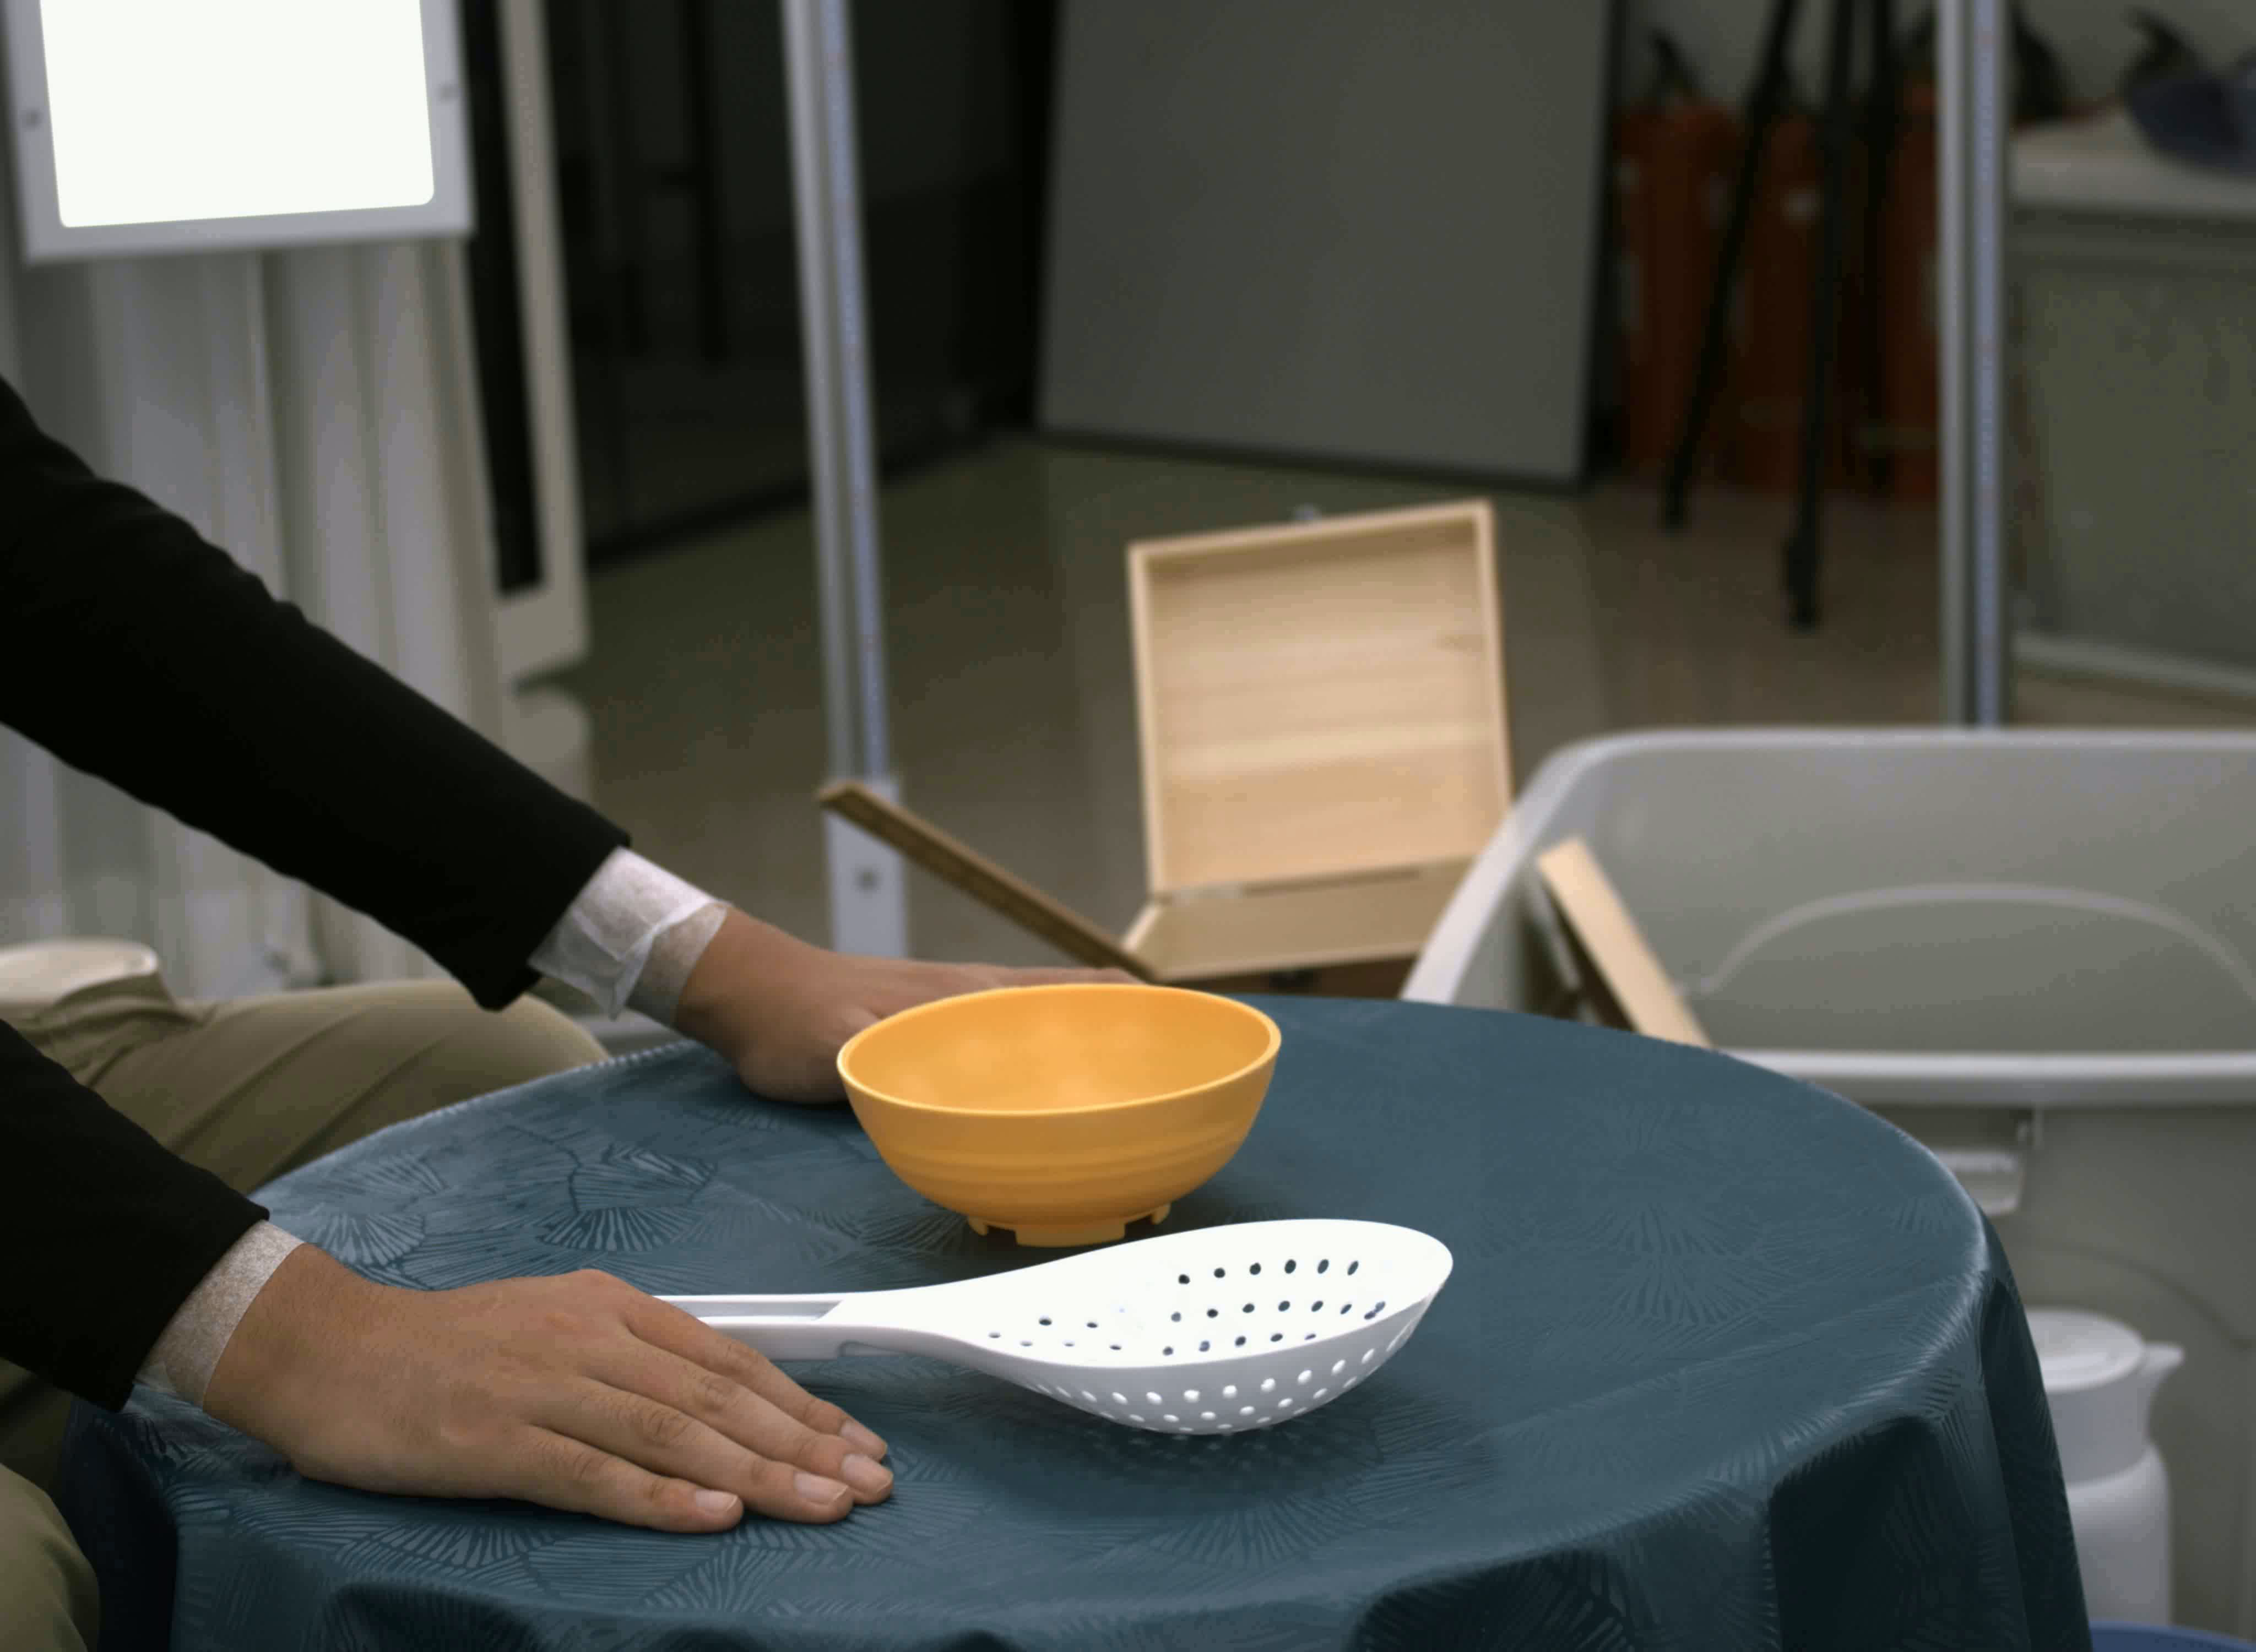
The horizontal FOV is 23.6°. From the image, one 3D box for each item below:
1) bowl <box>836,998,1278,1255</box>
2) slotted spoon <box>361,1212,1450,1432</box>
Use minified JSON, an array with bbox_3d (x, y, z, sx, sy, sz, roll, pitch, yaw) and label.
[{"bbox_3d":[-0.022,0.101,1.742,0.143,0.061,0.145,-3,12,0],"label":"bowl"},{"bbox_3d":[-0.071,0.146,1.591,0.349,0.046,0.134,0,14,23],"label":"slotted spoon"}]
